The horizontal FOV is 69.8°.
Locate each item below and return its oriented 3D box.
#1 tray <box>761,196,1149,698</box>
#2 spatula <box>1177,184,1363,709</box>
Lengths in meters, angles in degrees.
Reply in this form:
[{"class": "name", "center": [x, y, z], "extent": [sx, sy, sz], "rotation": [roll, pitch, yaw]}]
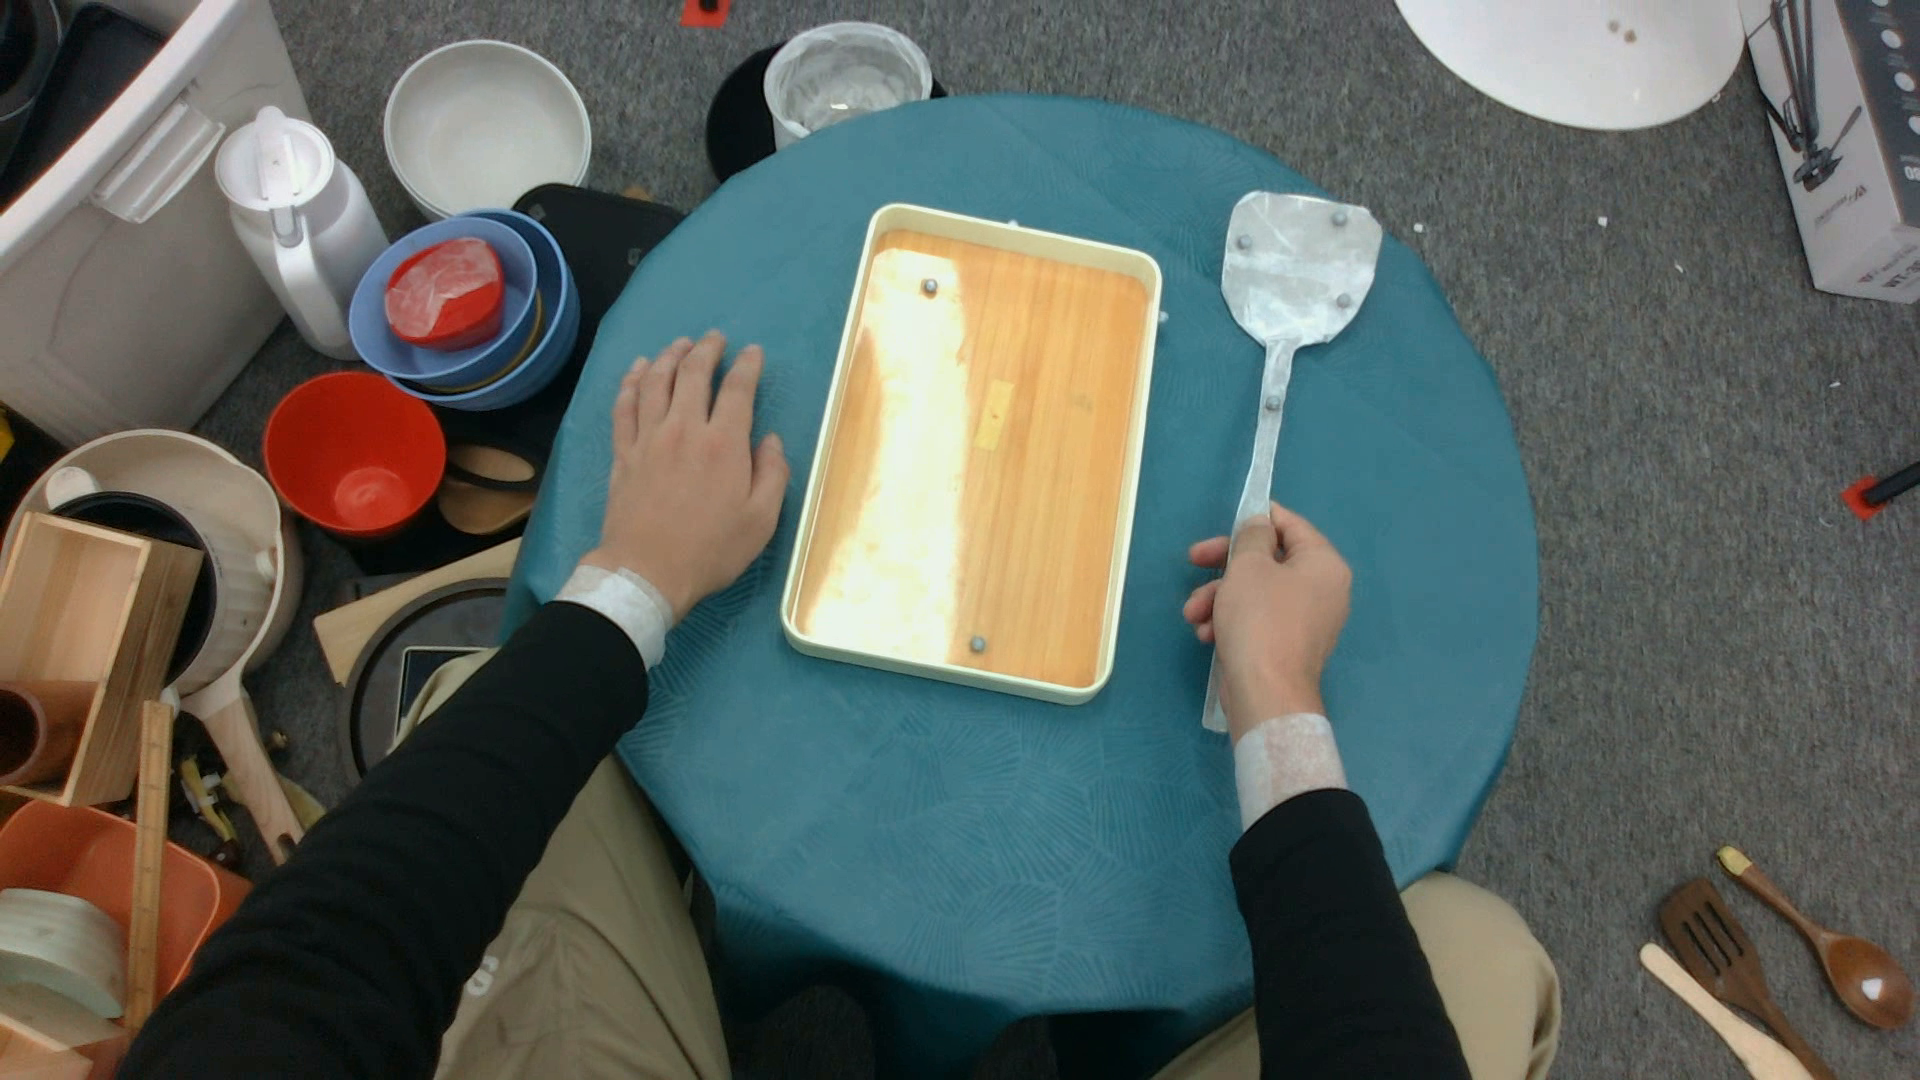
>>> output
[{"class": "tray", "center": [0.004, -0.064, 0.829], "extent": [0.191, 0.027, 0.301], "rotation": [12, 66, -2]}, {"class": "spatula", "center": [0.176, -0.068, 0.834], "extent": [0.098, 0.044, 0.366], "rotation": [12, 60, 7]}]
